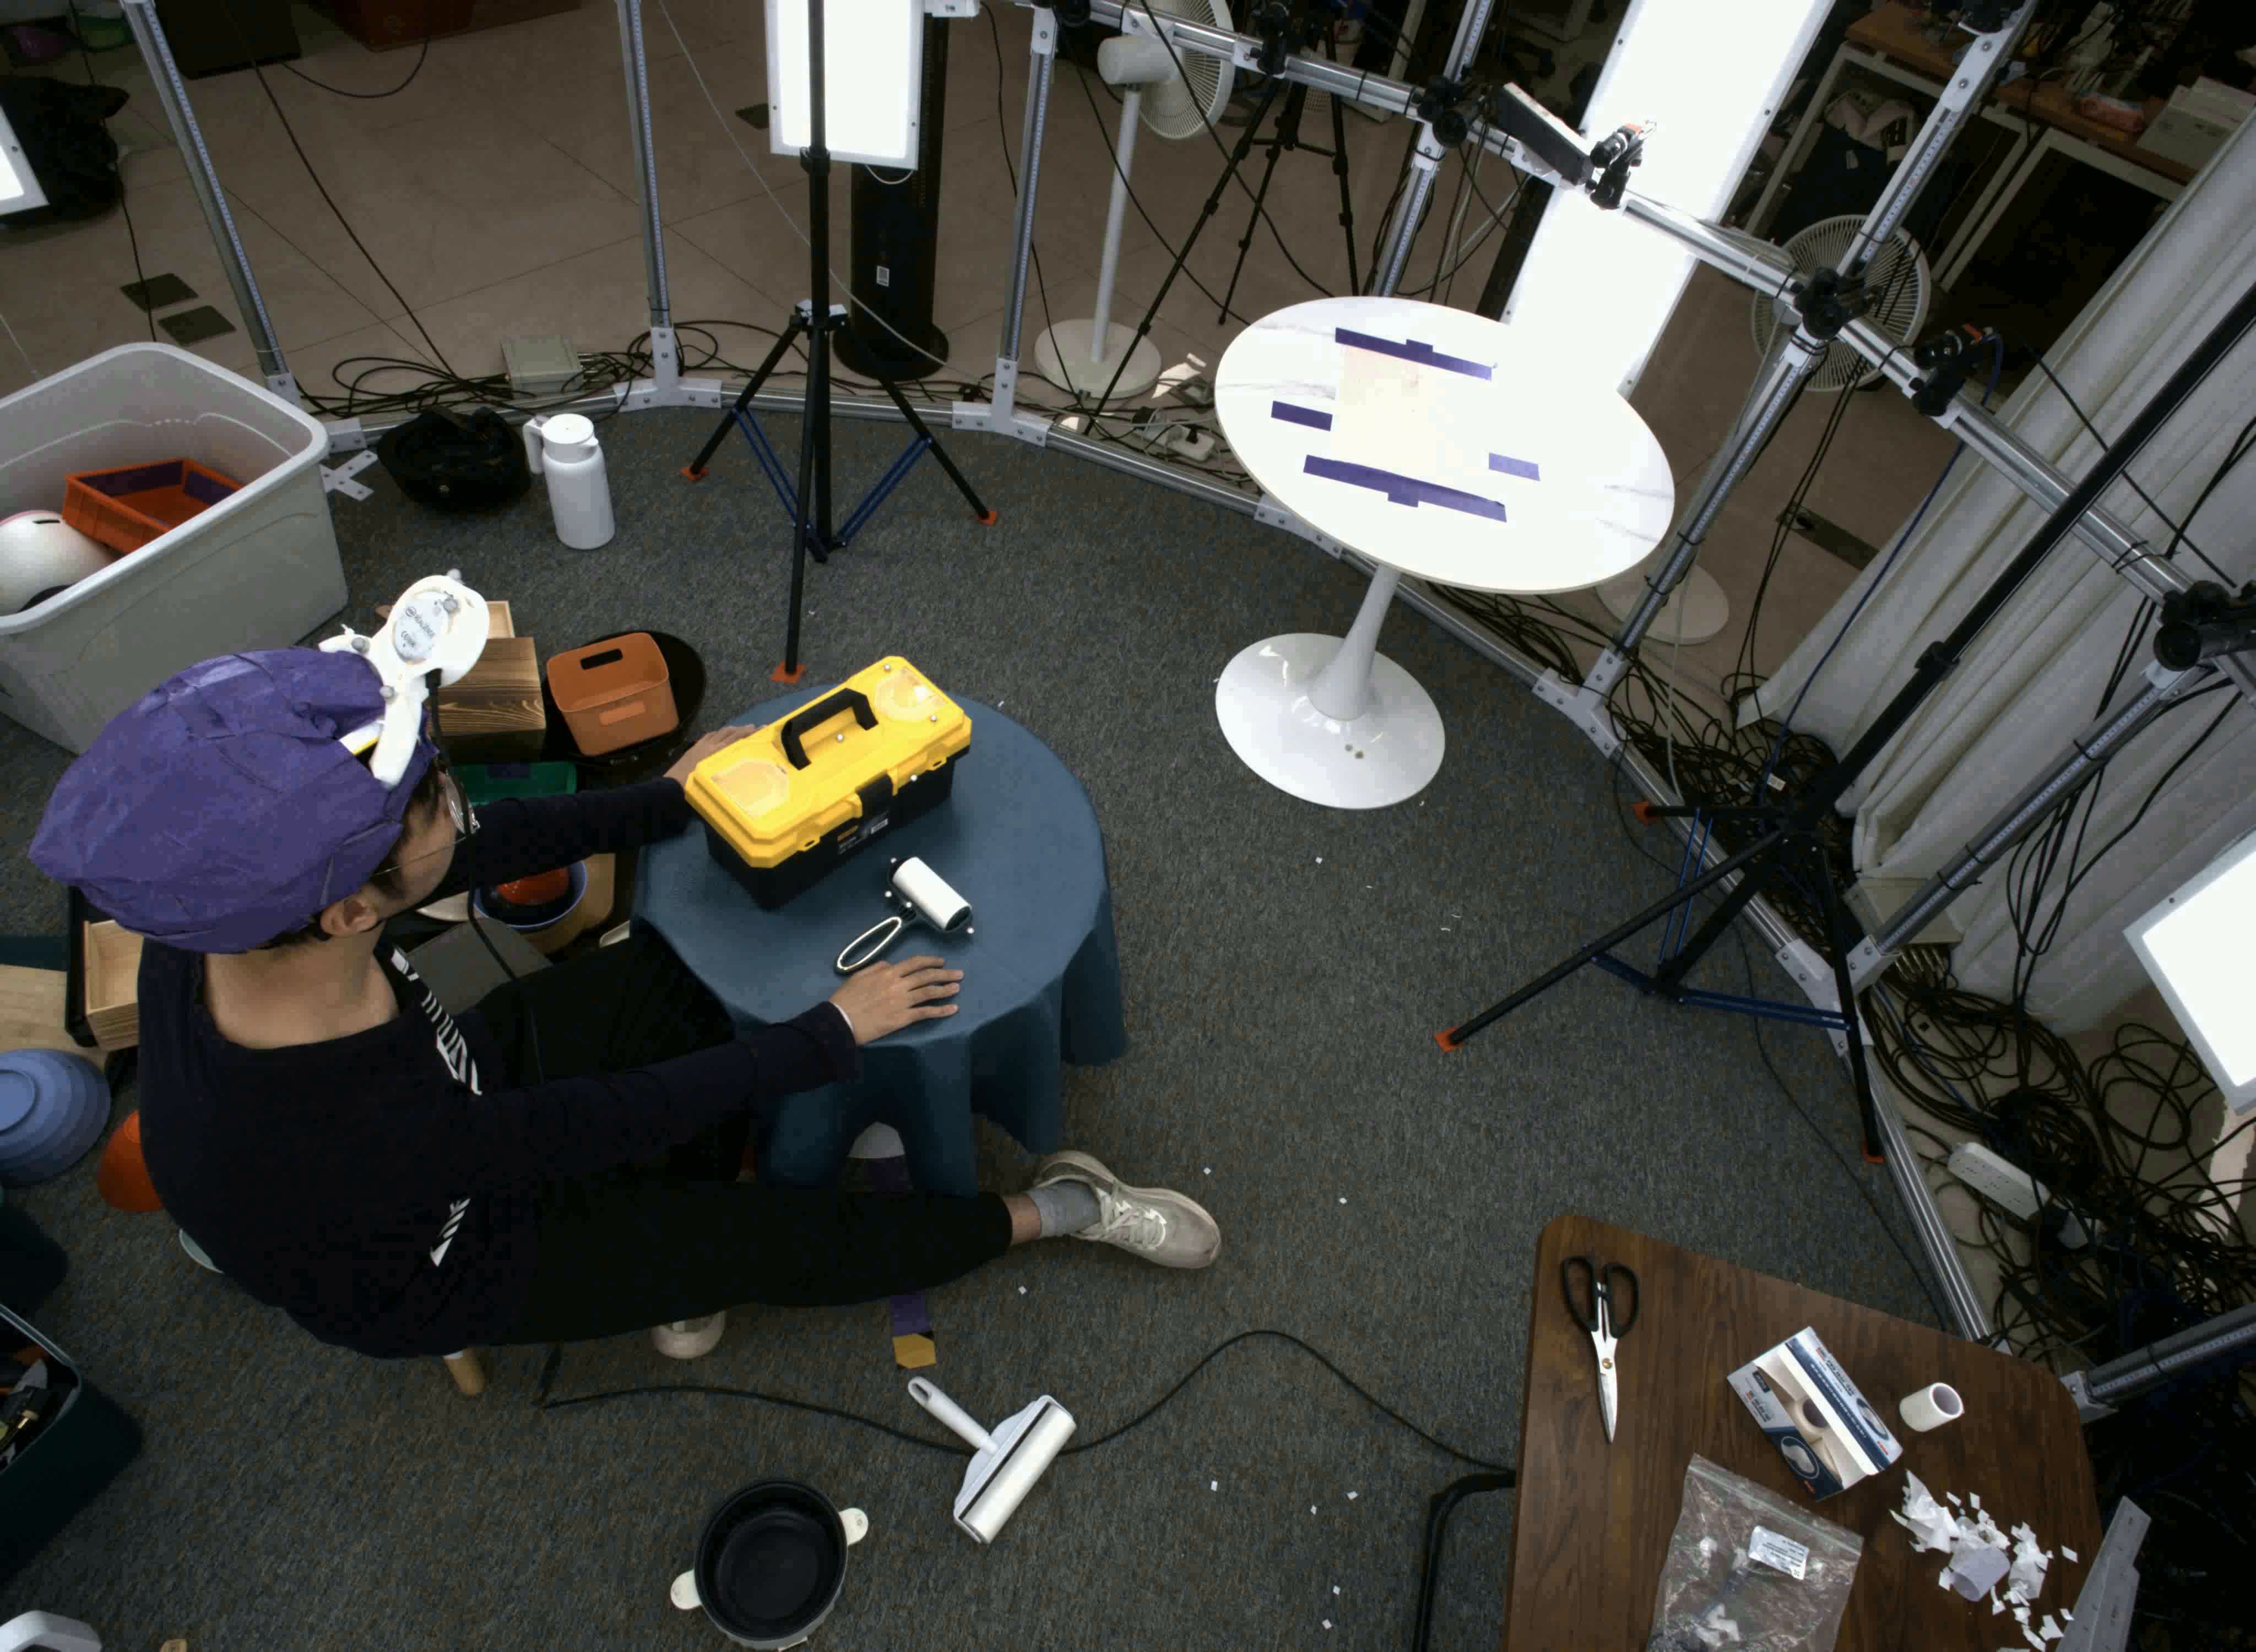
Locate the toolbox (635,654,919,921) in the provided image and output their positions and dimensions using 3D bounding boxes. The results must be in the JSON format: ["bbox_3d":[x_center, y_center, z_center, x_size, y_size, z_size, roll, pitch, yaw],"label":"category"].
[{"bbox_3d":[-0.439,-0.050,1.657,0.177,0.176,0.352,38,55,17],"label":"toolbox"}]

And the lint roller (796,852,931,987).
[{"bbox_3d":[-0.350,0.129,1.634,0.132,0.049,0.180,38,59,14],"label":"lint roller"}]
